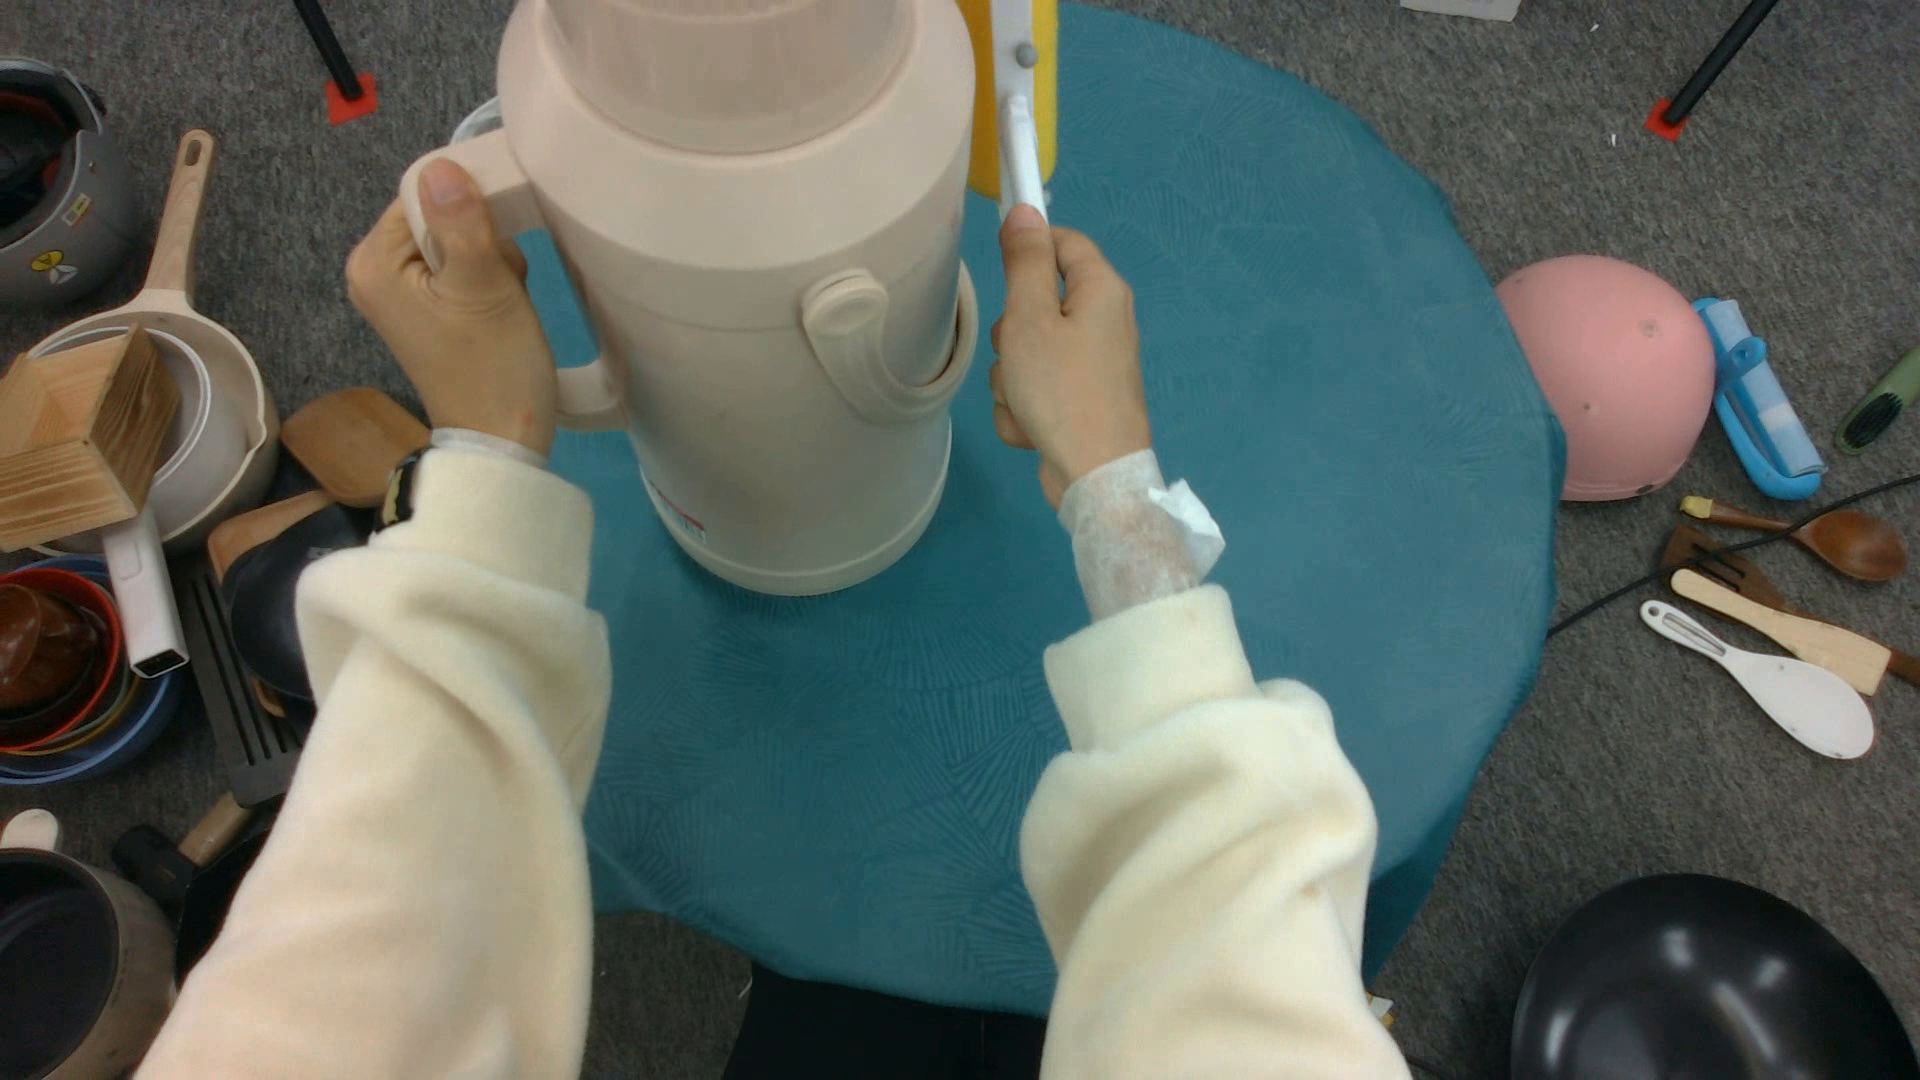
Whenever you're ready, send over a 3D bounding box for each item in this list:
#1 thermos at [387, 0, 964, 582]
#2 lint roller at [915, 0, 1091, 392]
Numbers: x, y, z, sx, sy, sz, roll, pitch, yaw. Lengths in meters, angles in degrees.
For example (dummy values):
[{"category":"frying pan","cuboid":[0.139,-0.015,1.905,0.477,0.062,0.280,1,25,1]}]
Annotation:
[{"category":"thermos","cuboid":[-0.096,-0.121,0.543,0.207,0.405,0.175,-24,72,-12]},{"category":"lint roller","cuboid":[0.029,-0.147,0.539,0.051,0.174,0.192,-20,69,-5]}]
